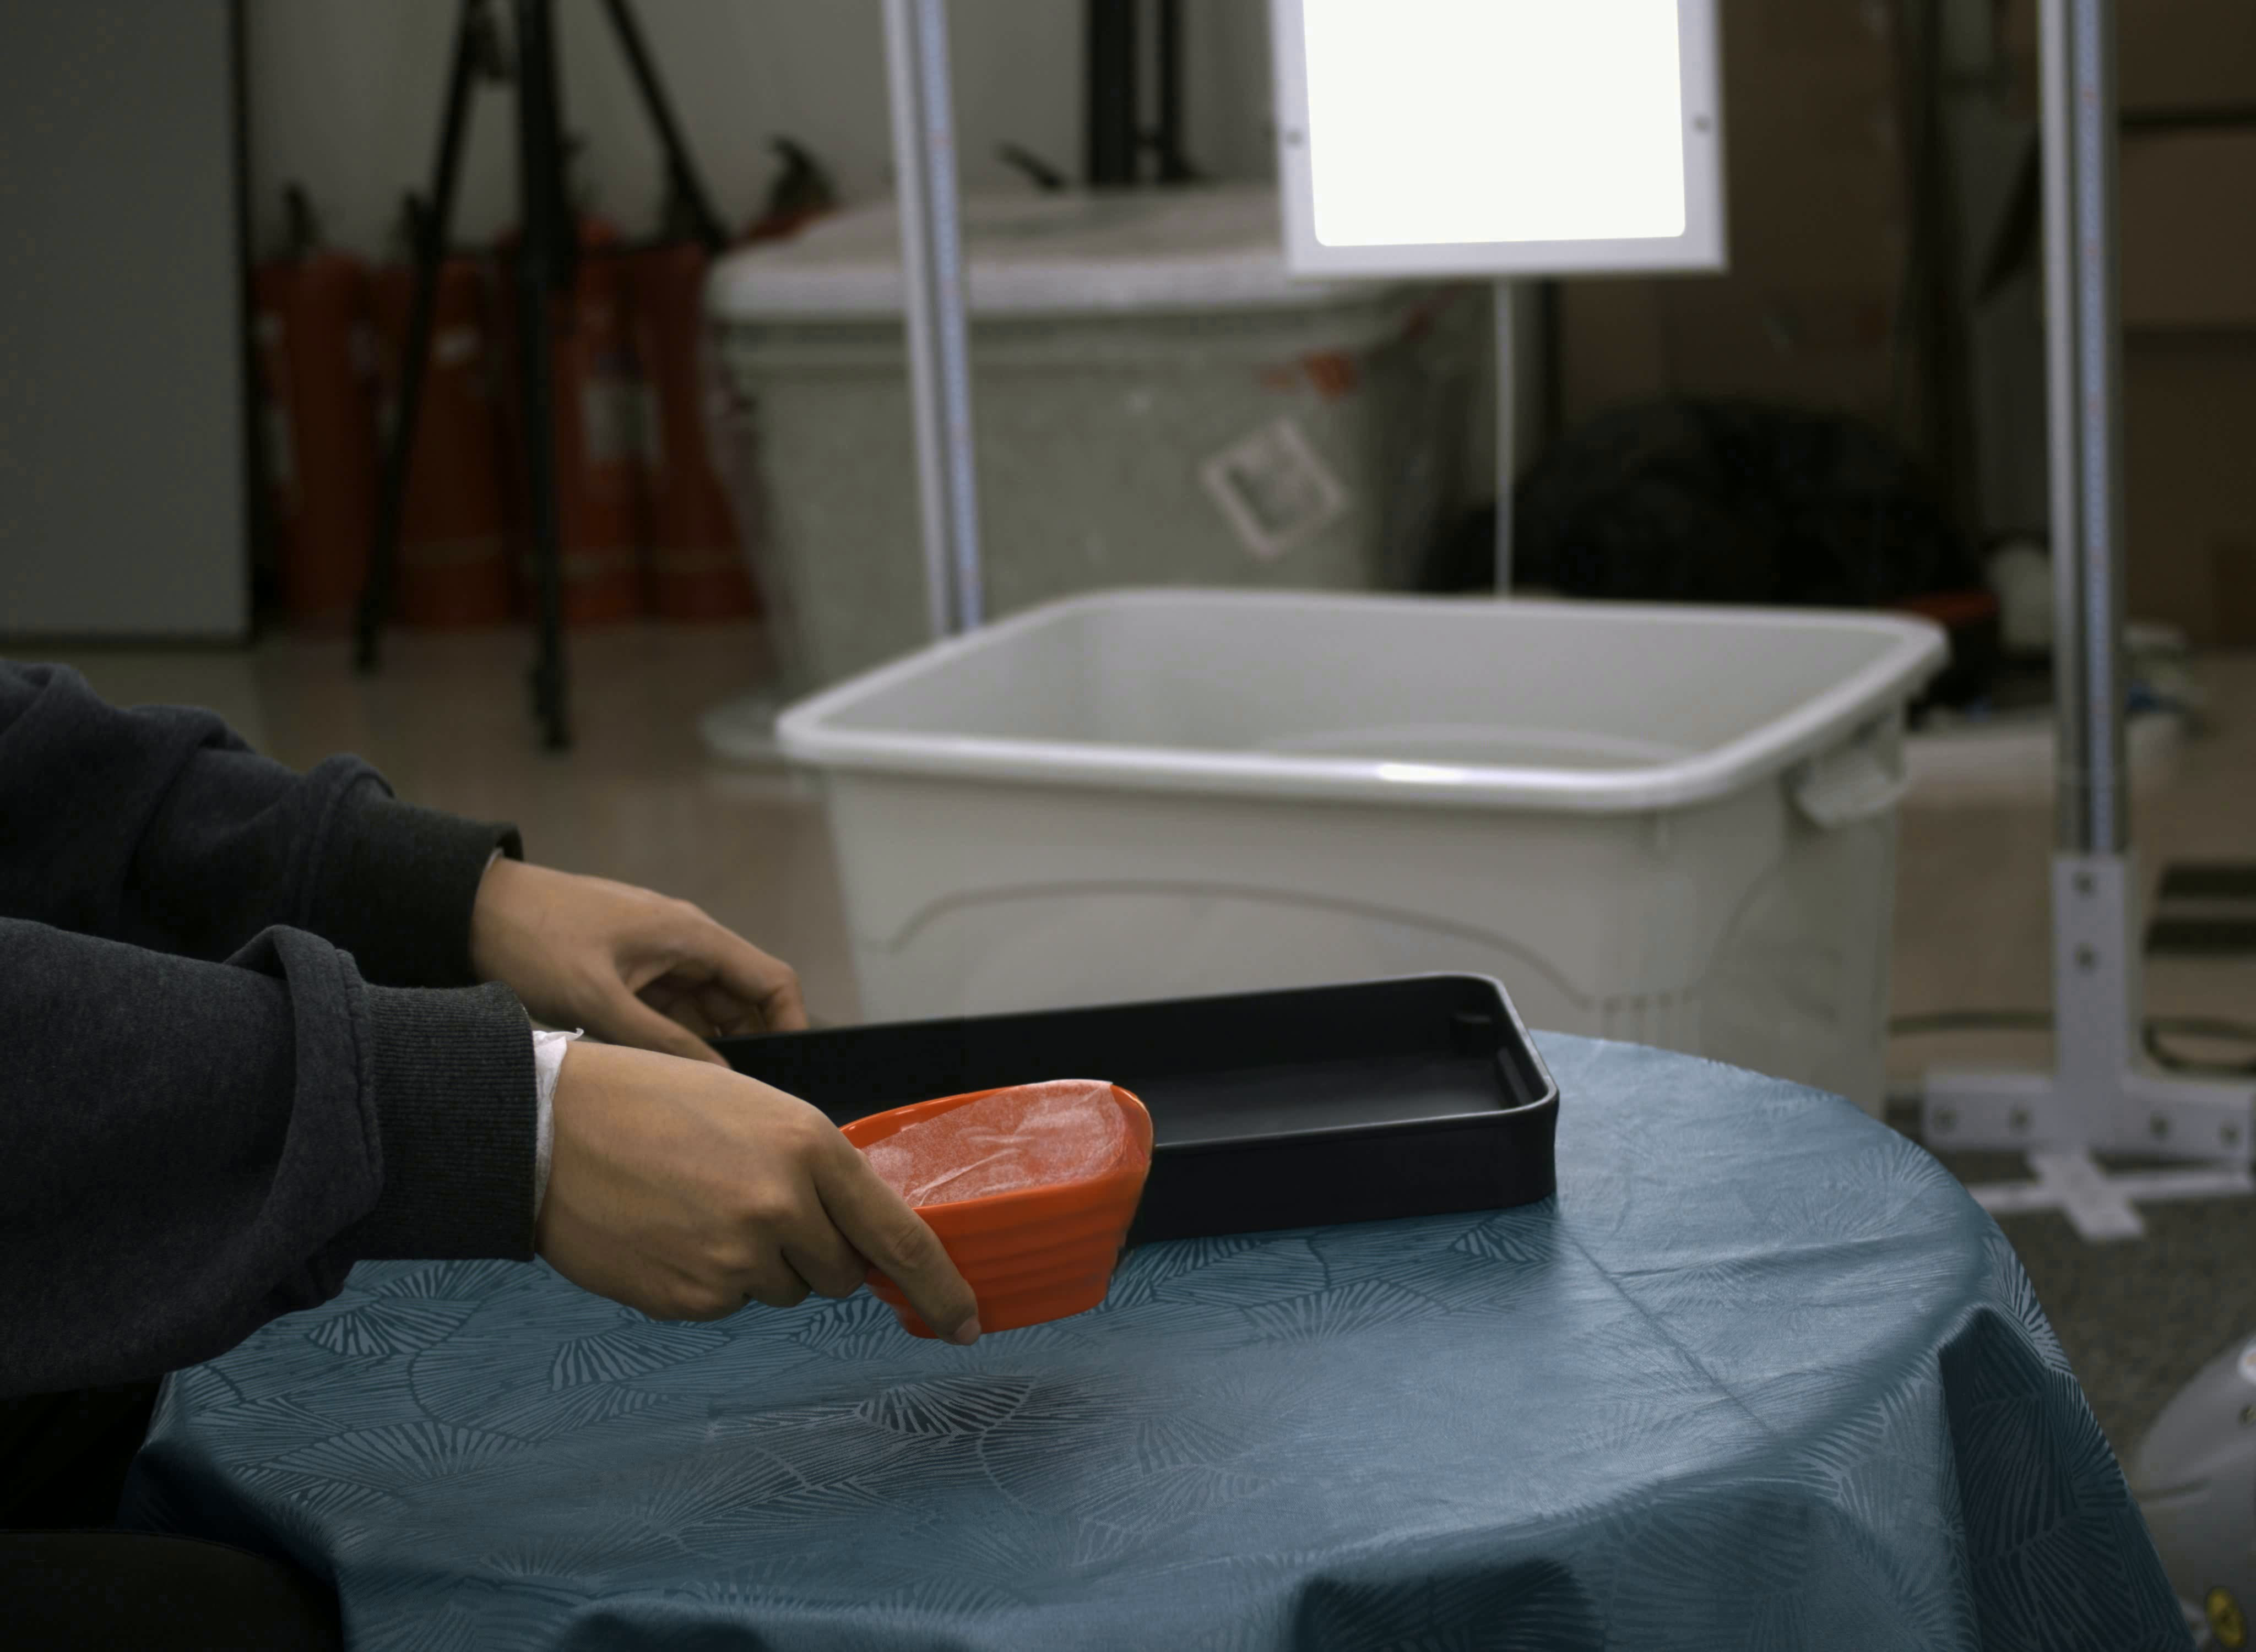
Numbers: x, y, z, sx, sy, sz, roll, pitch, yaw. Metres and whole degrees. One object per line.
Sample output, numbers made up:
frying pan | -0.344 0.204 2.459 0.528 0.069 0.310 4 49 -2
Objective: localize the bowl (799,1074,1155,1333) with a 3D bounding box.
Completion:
bowl | -0.043 0.119 1.690 0.119 0.051 0.119 -8 15 1

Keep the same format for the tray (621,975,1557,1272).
tray | -0.017 0.101 1.922 0.317 0.037 0.184 -4 14 -1
